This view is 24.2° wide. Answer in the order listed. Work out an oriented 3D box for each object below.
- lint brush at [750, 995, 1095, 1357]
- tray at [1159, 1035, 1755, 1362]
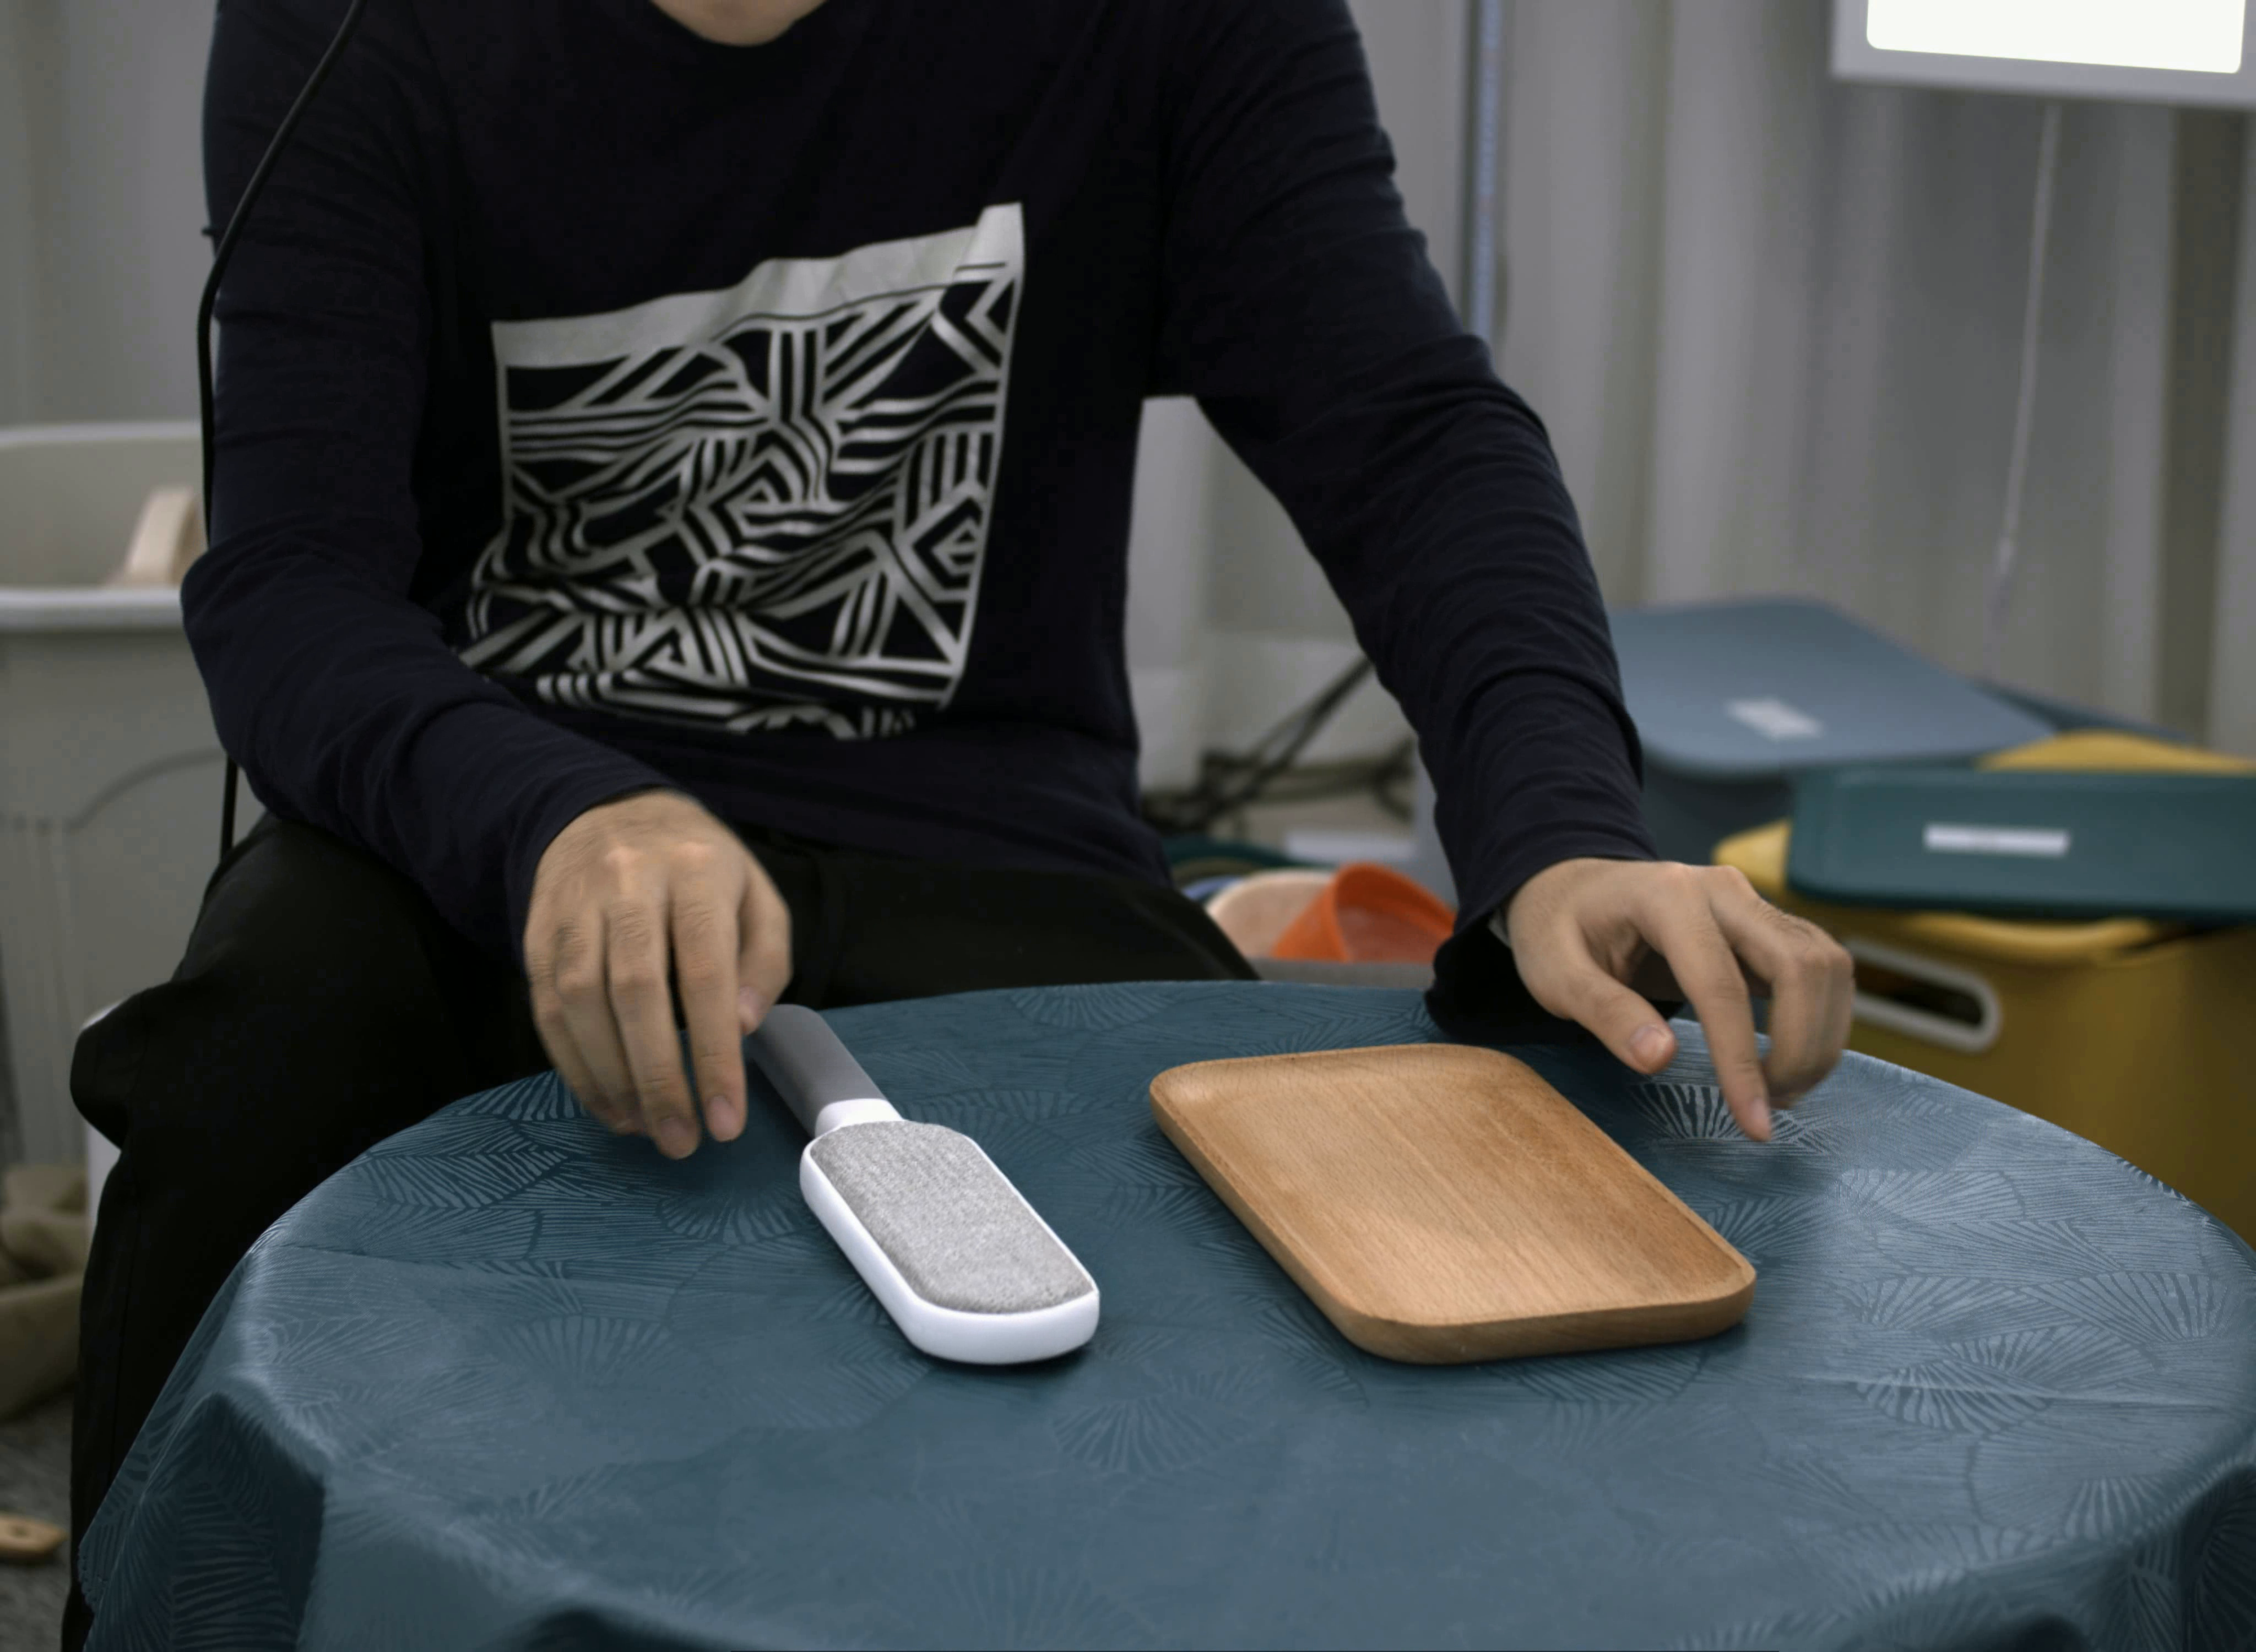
[{"bbox_3d":[-0.071,0.102,1.608,0.060,0.021,0.306,-9,17,-14],"label":"lint brush"},{"bbox_3d":[0.095,0.110,1.603,0.131,0.023,0.248,-1,15,-14],"label":"tray"}]
